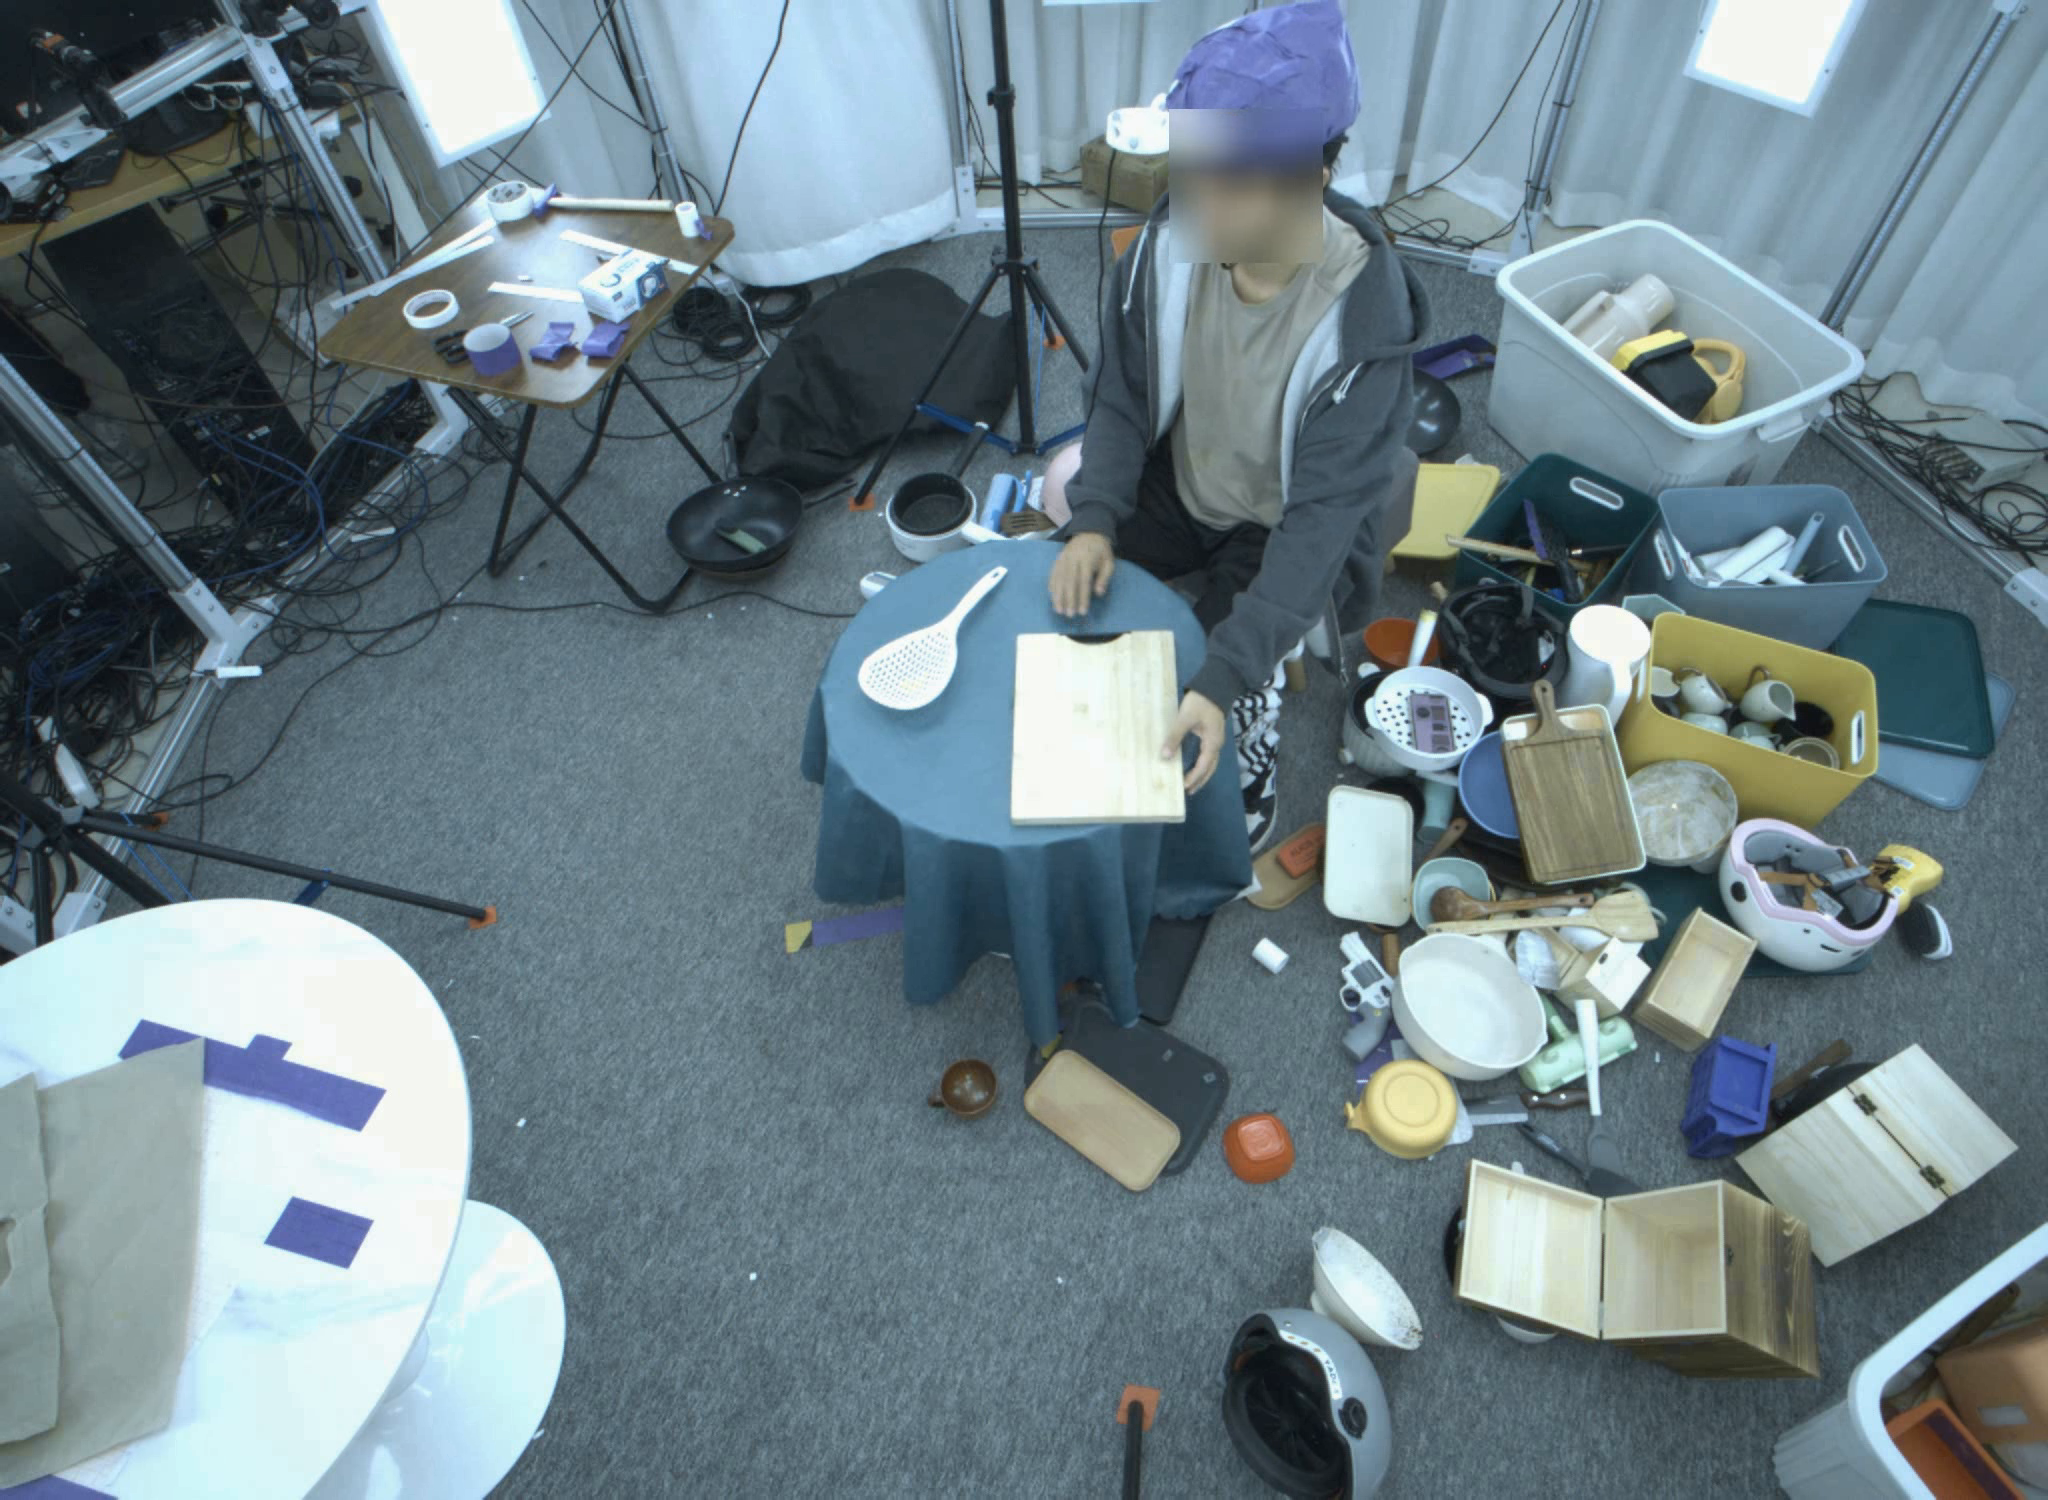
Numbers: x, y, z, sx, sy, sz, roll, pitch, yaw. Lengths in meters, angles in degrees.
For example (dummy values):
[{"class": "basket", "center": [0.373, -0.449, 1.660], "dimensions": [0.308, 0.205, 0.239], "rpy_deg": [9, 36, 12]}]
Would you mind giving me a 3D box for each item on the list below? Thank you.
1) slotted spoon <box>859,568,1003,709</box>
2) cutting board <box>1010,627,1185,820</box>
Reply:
[{"class": "slotted spoon", "center": [-0.121, -0.182, 1.898], "dimensions": [0.135, 0.051, 0.349], "rpy_deg": [23, 59, 20]}, {"class": "cutting board", "center": [0.106, -0.043, 1.806], "dimensions": [0.250, 0.024, 0.345], "rpy_deg": [-1, 55, 1]}]
